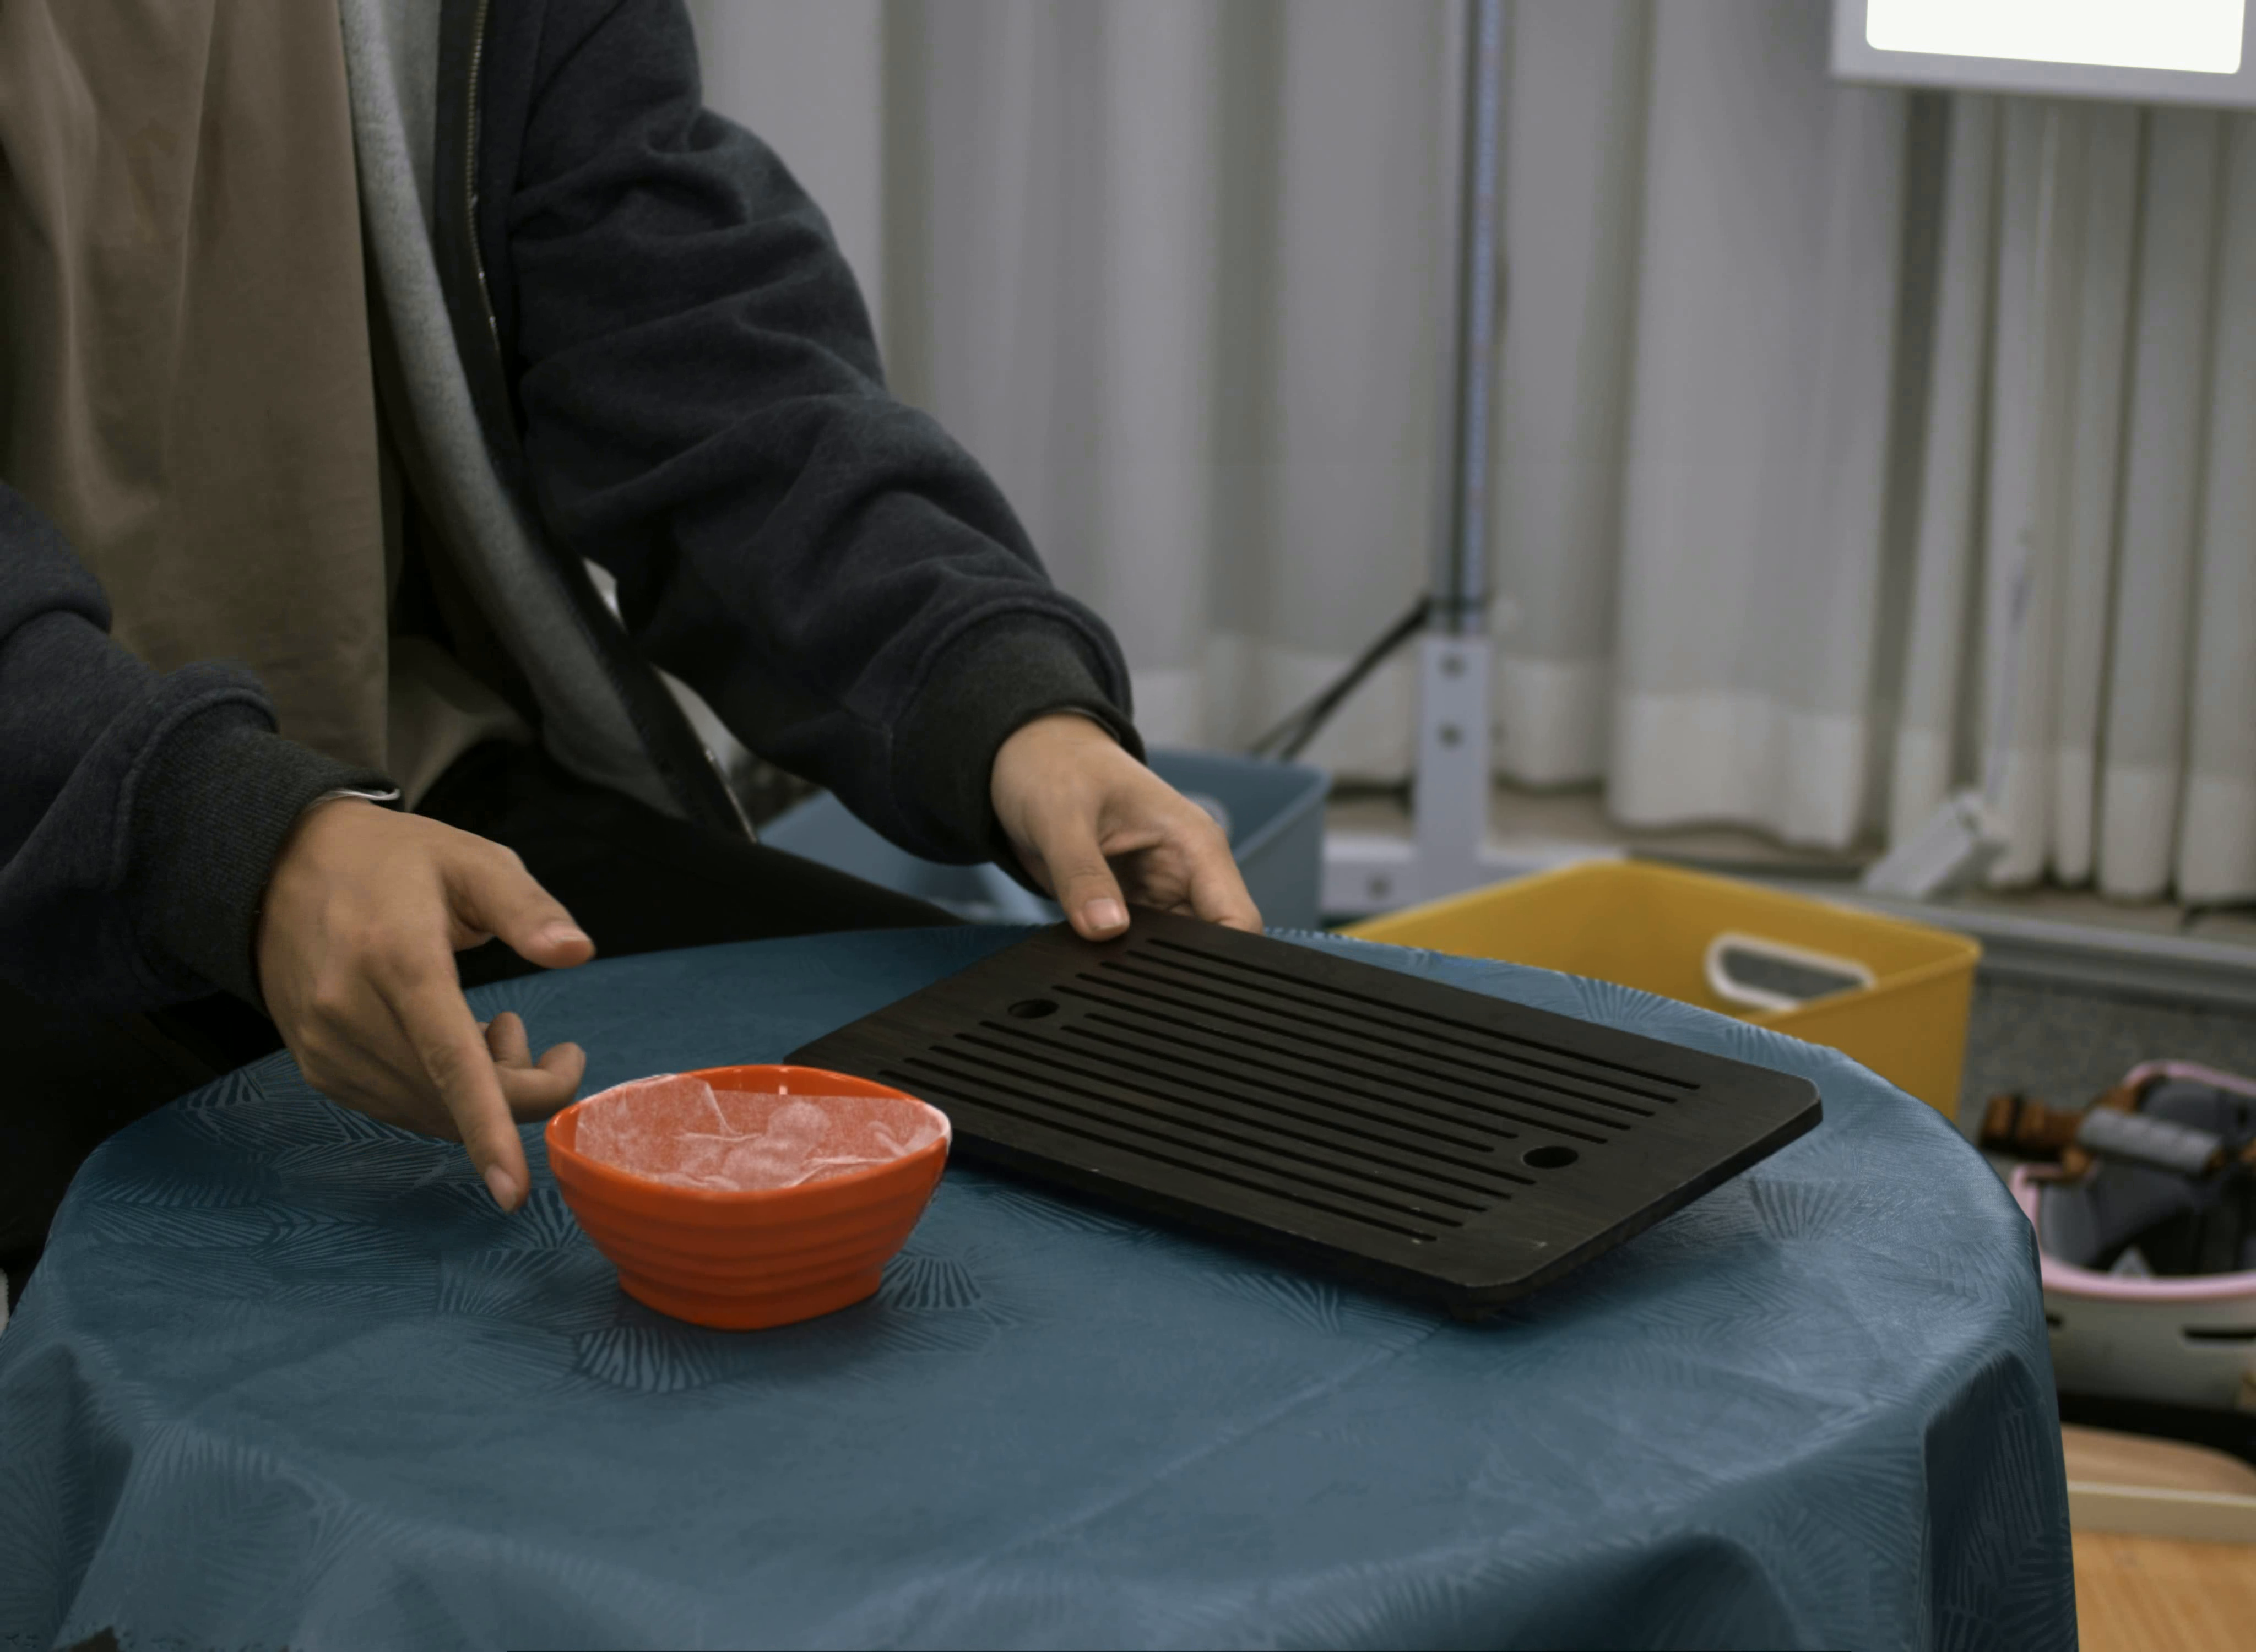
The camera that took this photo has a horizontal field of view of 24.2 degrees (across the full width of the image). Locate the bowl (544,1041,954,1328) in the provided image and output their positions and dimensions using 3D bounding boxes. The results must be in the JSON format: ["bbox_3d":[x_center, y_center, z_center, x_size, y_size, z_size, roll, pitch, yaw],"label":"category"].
[{"bbox_3d":[-0.110,0.106,1.531,0.118,0.052,0.118,2,20,0],"label":"bowl"}]

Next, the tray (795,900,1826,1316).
[{"bbox_3d":[0.051,0.085,1.653,0.302,0.019,0.170,14,28,40],"label":"tray"}]
